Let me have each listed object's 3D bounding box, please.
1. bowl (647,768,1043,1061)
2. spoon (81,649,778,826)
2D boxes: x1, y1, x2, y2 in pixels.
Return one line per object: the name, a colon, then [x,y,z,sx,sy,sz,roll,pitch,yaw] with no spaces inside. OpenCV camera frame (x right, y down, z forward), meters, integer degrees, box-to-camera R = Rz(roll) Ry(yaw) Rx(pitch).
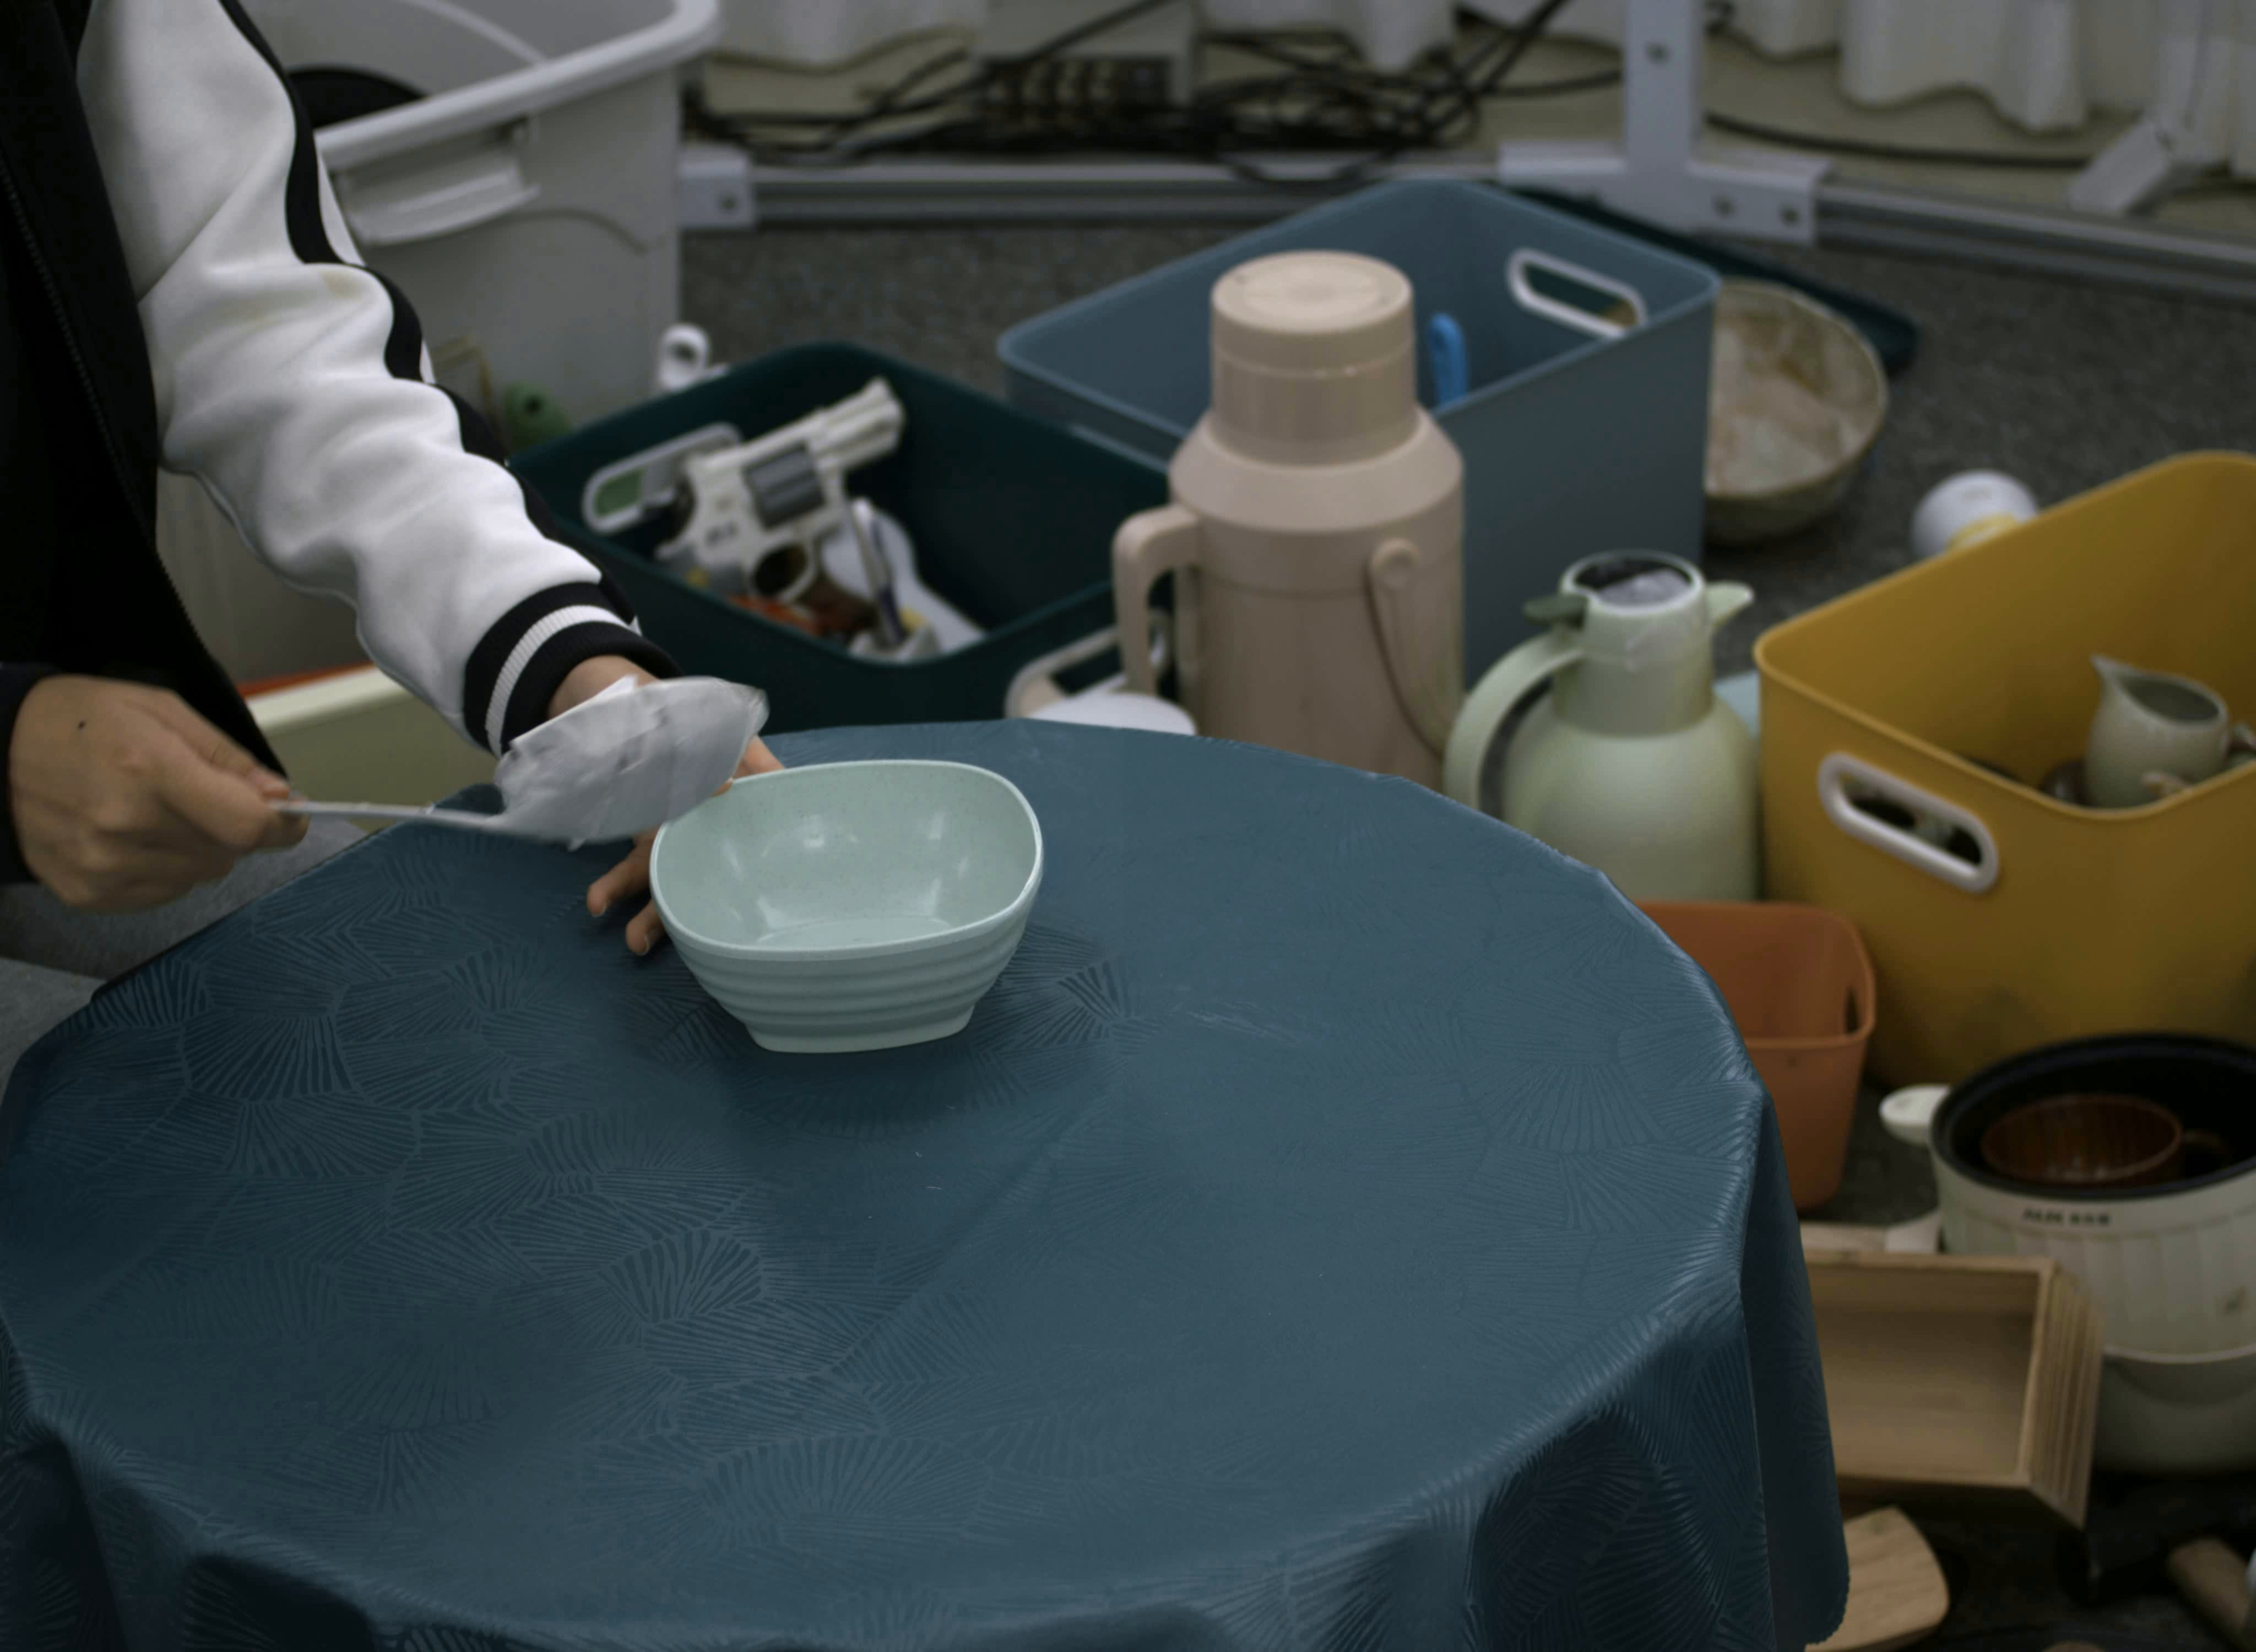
bowl: [-0.098,0.037,1.979,0.151,0.058,0.154,-2,27,1]
spoon: [-0.237,-0.033,1.862,0.275,0.060,0.100,4,-10,34]
